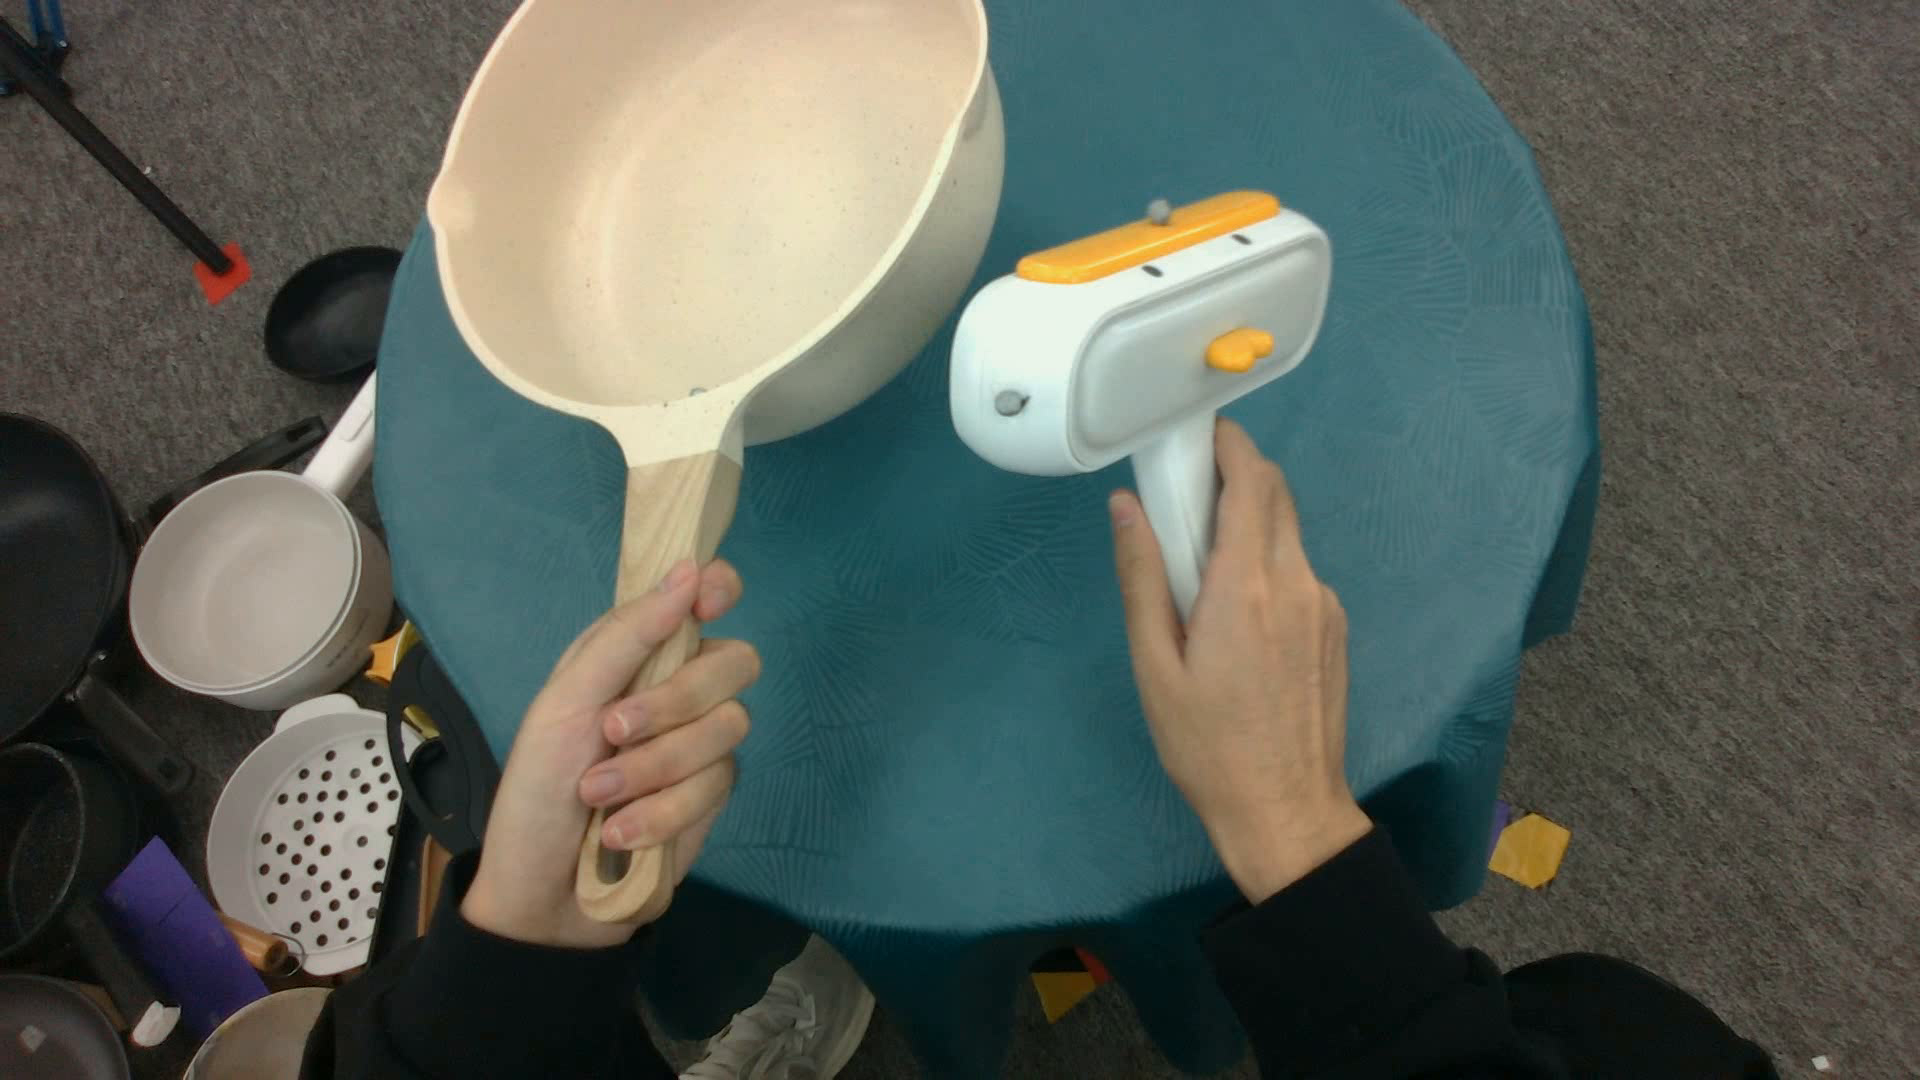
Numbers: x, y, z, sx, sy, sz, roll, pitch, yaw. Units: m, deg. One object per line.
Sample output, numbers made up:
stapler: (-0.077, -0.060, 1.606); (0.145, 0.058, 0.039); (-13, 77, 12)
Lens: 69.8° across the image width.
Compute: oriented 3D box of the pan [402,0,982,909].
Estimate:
pan: (-0.103, -0.075, 0.551); (0.263, 0.102, 0.436); (-9, 70, 19)

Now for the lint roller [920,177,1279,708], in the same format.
lint roller: (0.071, -0.026, 0.518); (0.074, 0.192, 0.194); (7, 27, 33)
